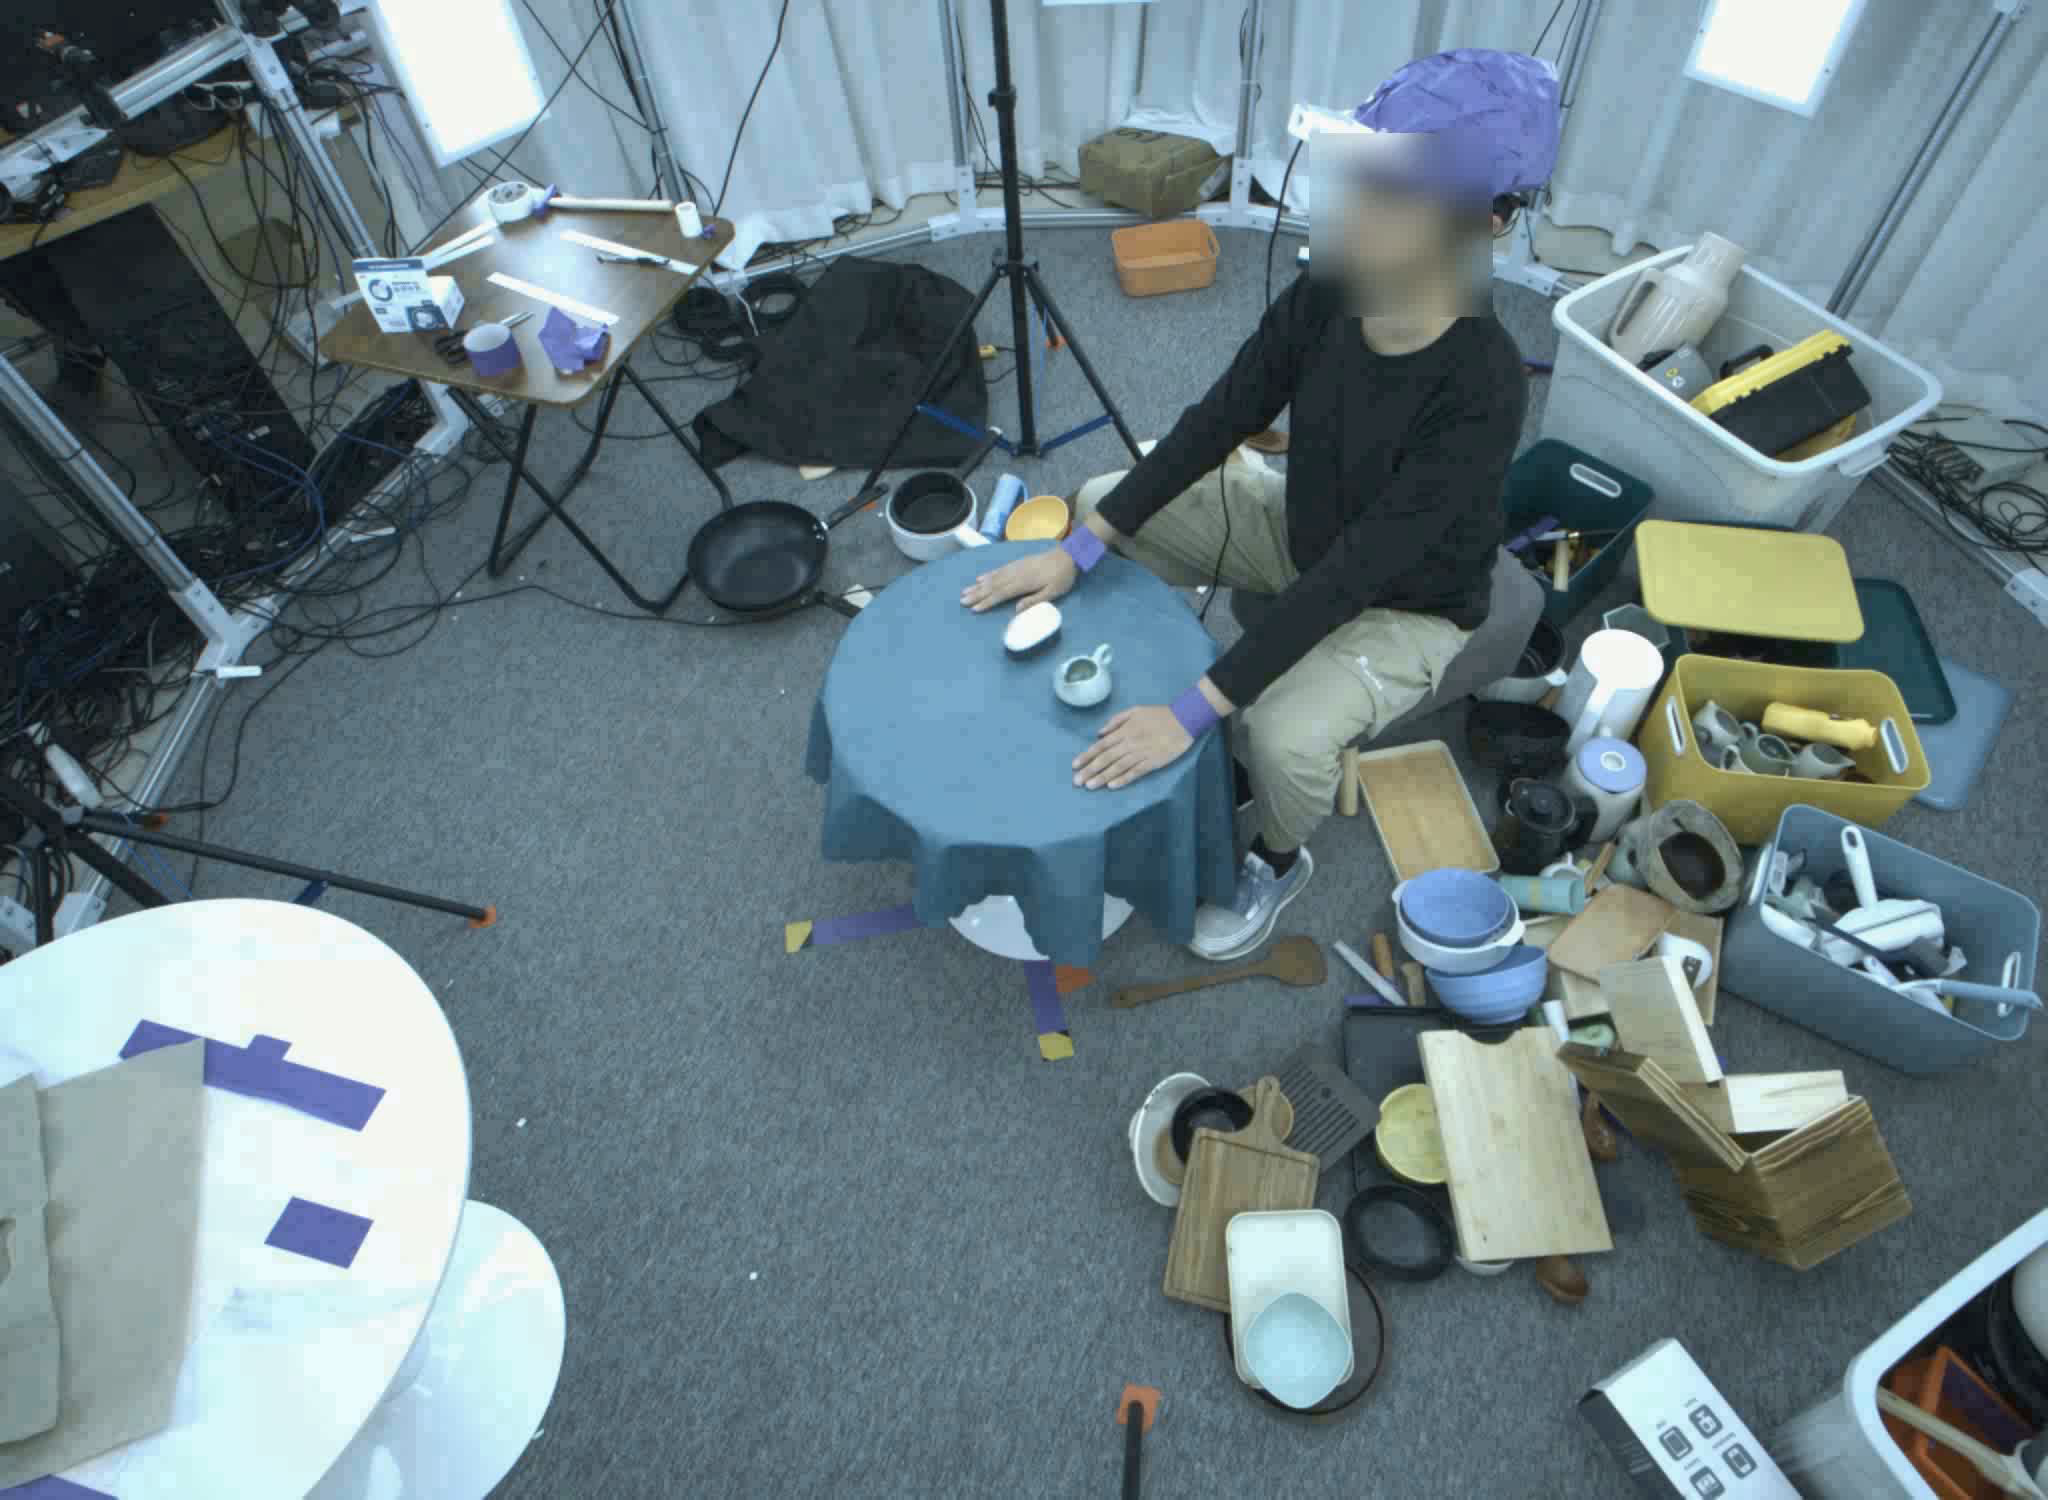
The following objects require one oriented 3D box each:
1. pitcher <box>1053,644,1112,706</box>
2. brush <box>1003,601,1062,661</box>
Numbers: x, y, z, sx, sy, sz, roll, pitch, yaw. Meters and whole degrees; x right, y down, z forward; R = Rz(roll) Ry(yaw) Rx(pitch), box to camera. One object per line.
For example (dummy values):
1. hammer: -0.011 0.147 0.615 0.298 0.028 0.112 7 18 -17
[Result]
1. pitcher: 0.093 -0.112 1.833 0.084 0.061 0.109 34 60 23
2. brush: 0.012 -0.189 1.878 0.100 0.073 0.049 -32 60 -17
